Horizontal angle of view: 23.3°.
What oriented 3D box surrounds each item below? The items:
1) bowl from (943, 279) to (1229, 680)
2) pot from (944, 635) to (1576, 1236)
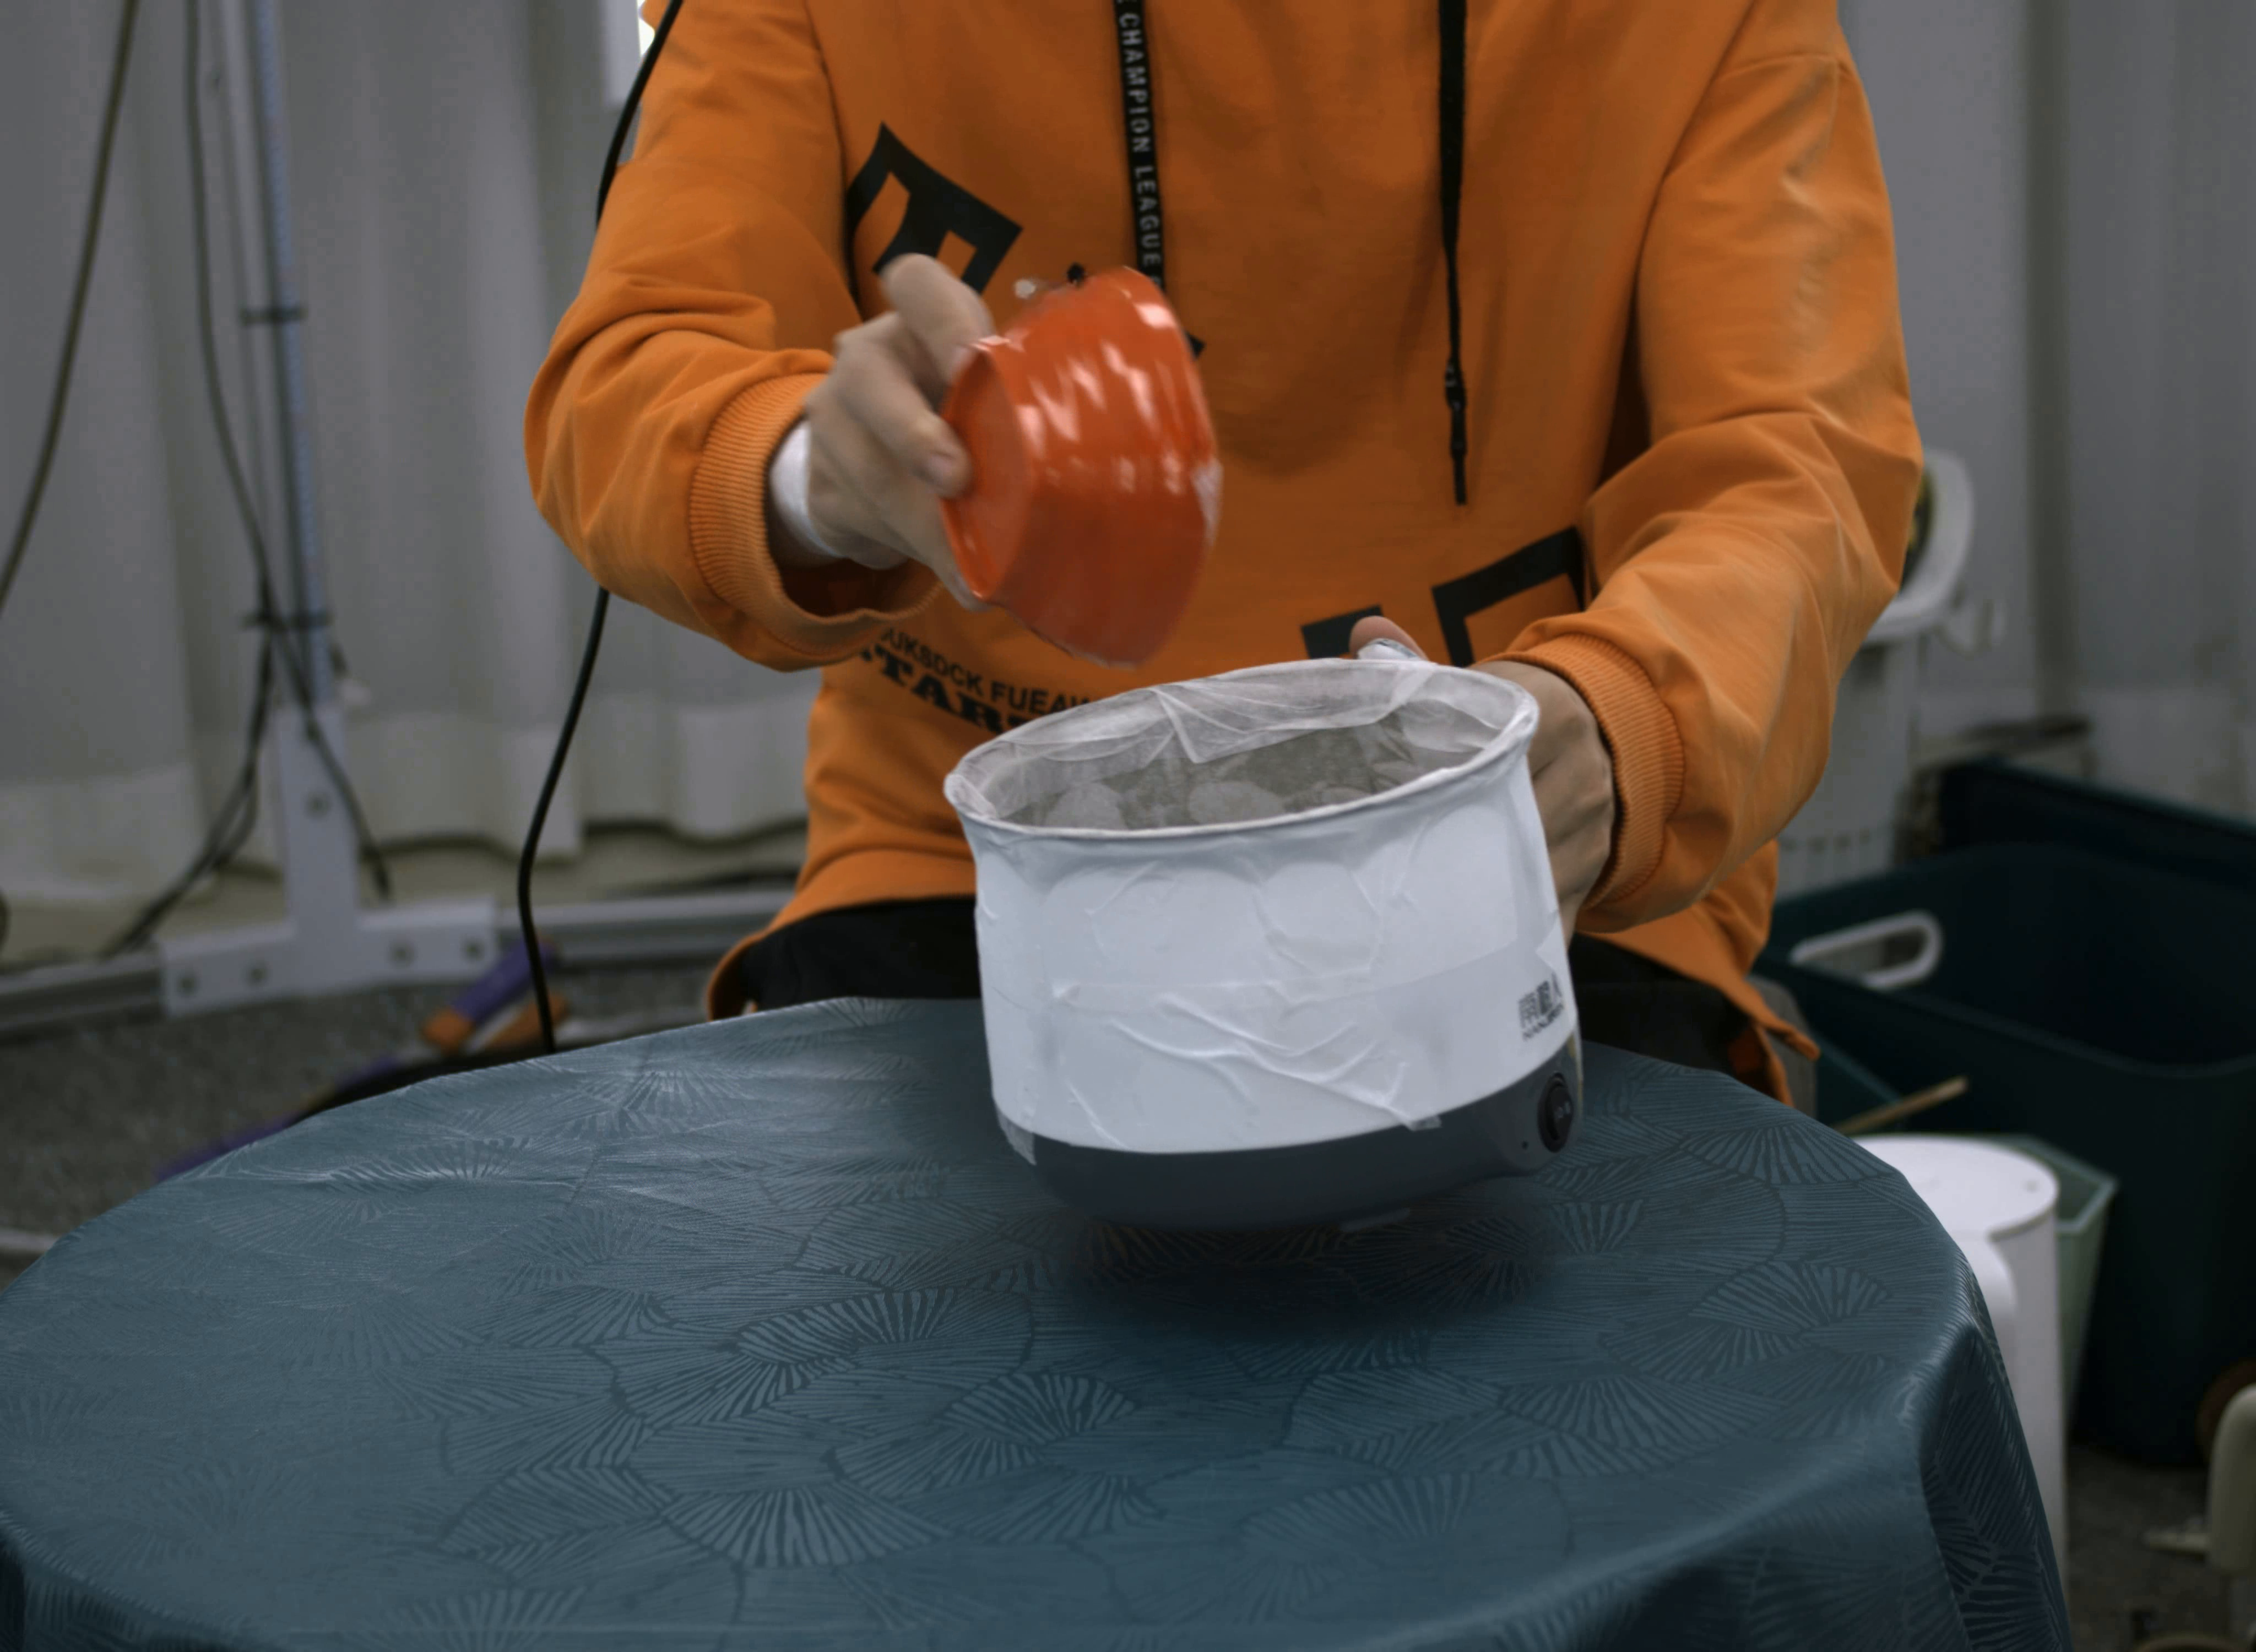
[{"bbox_3d":[-0.018,-0.102,1.617,0.051,0.118,0.120,-1,13,-24],"label":"bowl"},{"bbox_3d":[0.053,0.028,1.654,0.179,0.136,0.234,0,17,27],"label":"pot"}]
